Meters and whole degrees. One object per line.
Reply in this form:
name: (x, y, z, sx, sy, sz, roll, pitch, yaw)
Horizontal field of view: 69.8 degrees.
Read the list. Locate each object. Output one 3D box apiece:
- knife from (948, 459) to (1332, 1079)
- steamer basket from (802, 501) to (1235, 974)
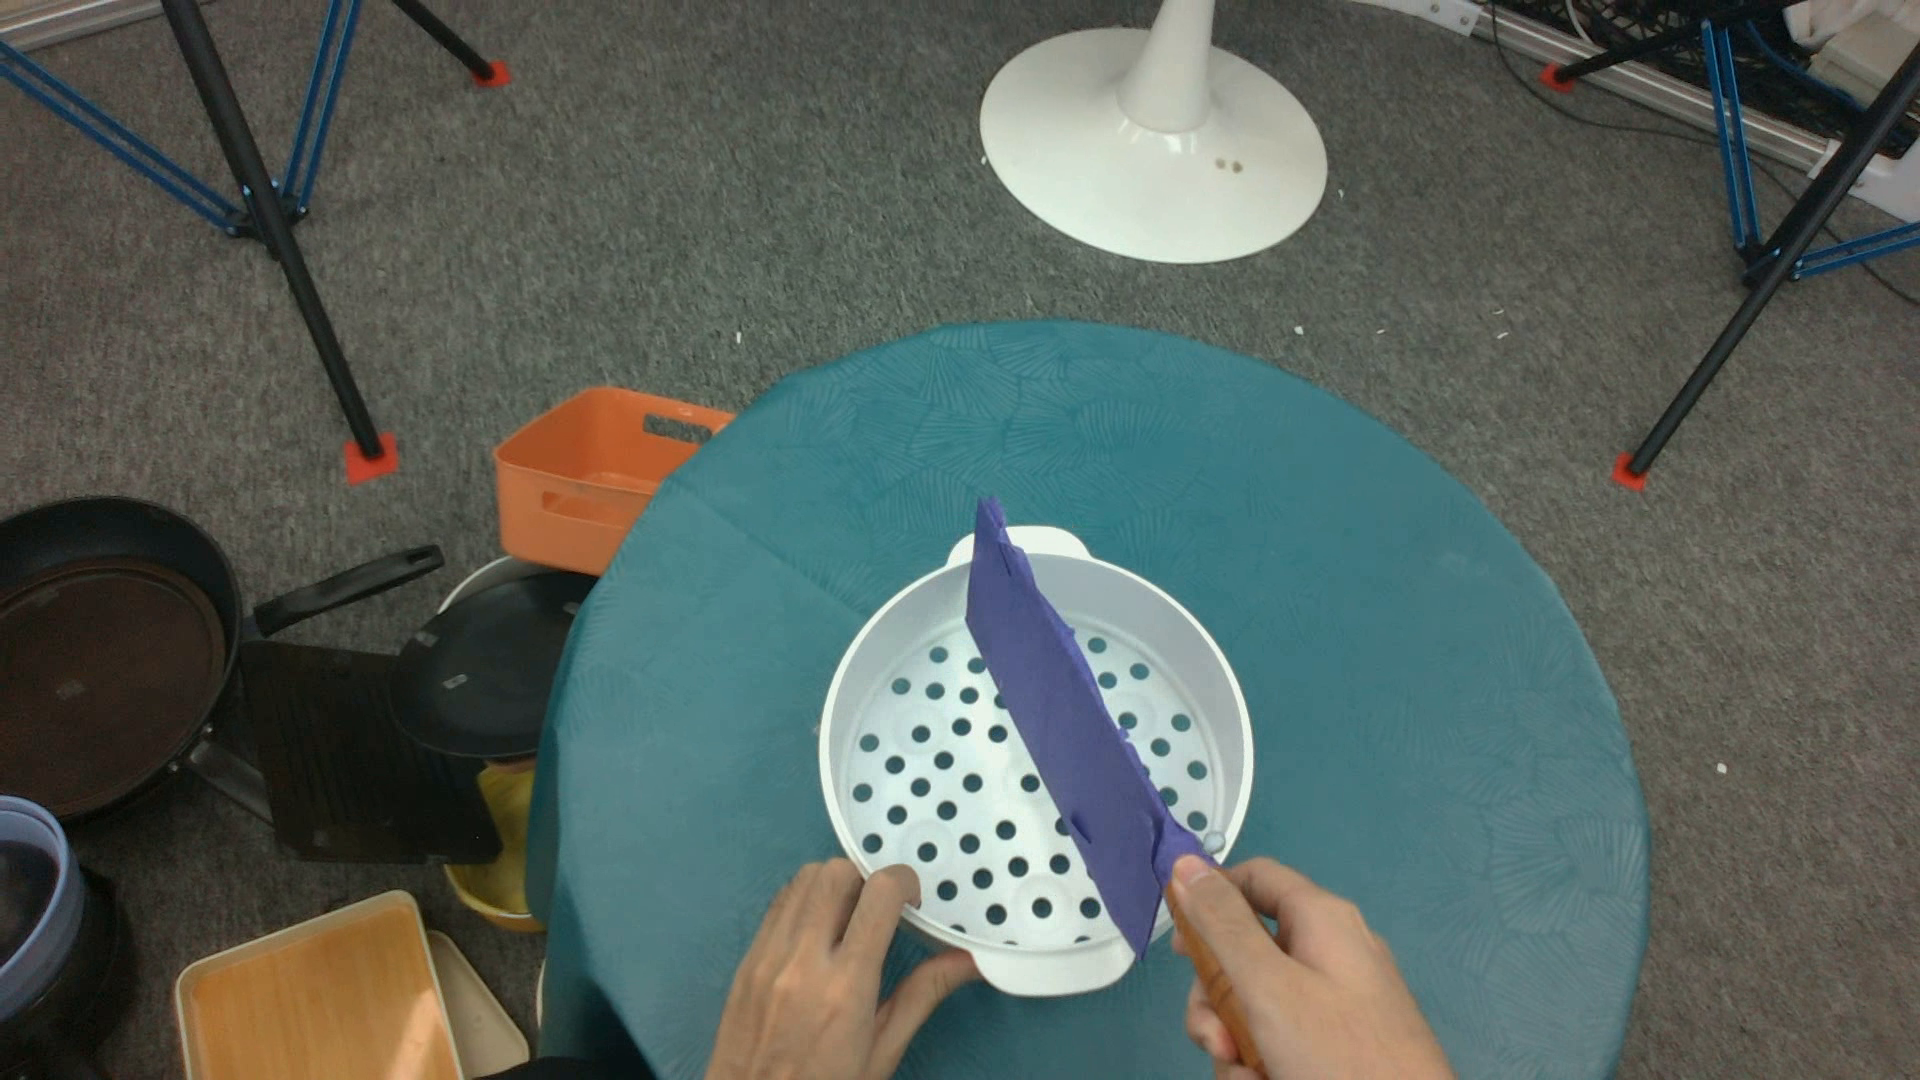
knife: (0.057, 0.100, 0.576, 0.032, 0.103, 0.316, -10, 45, -17)
steamer basket: (0.027, 0.095, 0.666, 0.202, 0.069, 0.231, -3, 63, -2)
